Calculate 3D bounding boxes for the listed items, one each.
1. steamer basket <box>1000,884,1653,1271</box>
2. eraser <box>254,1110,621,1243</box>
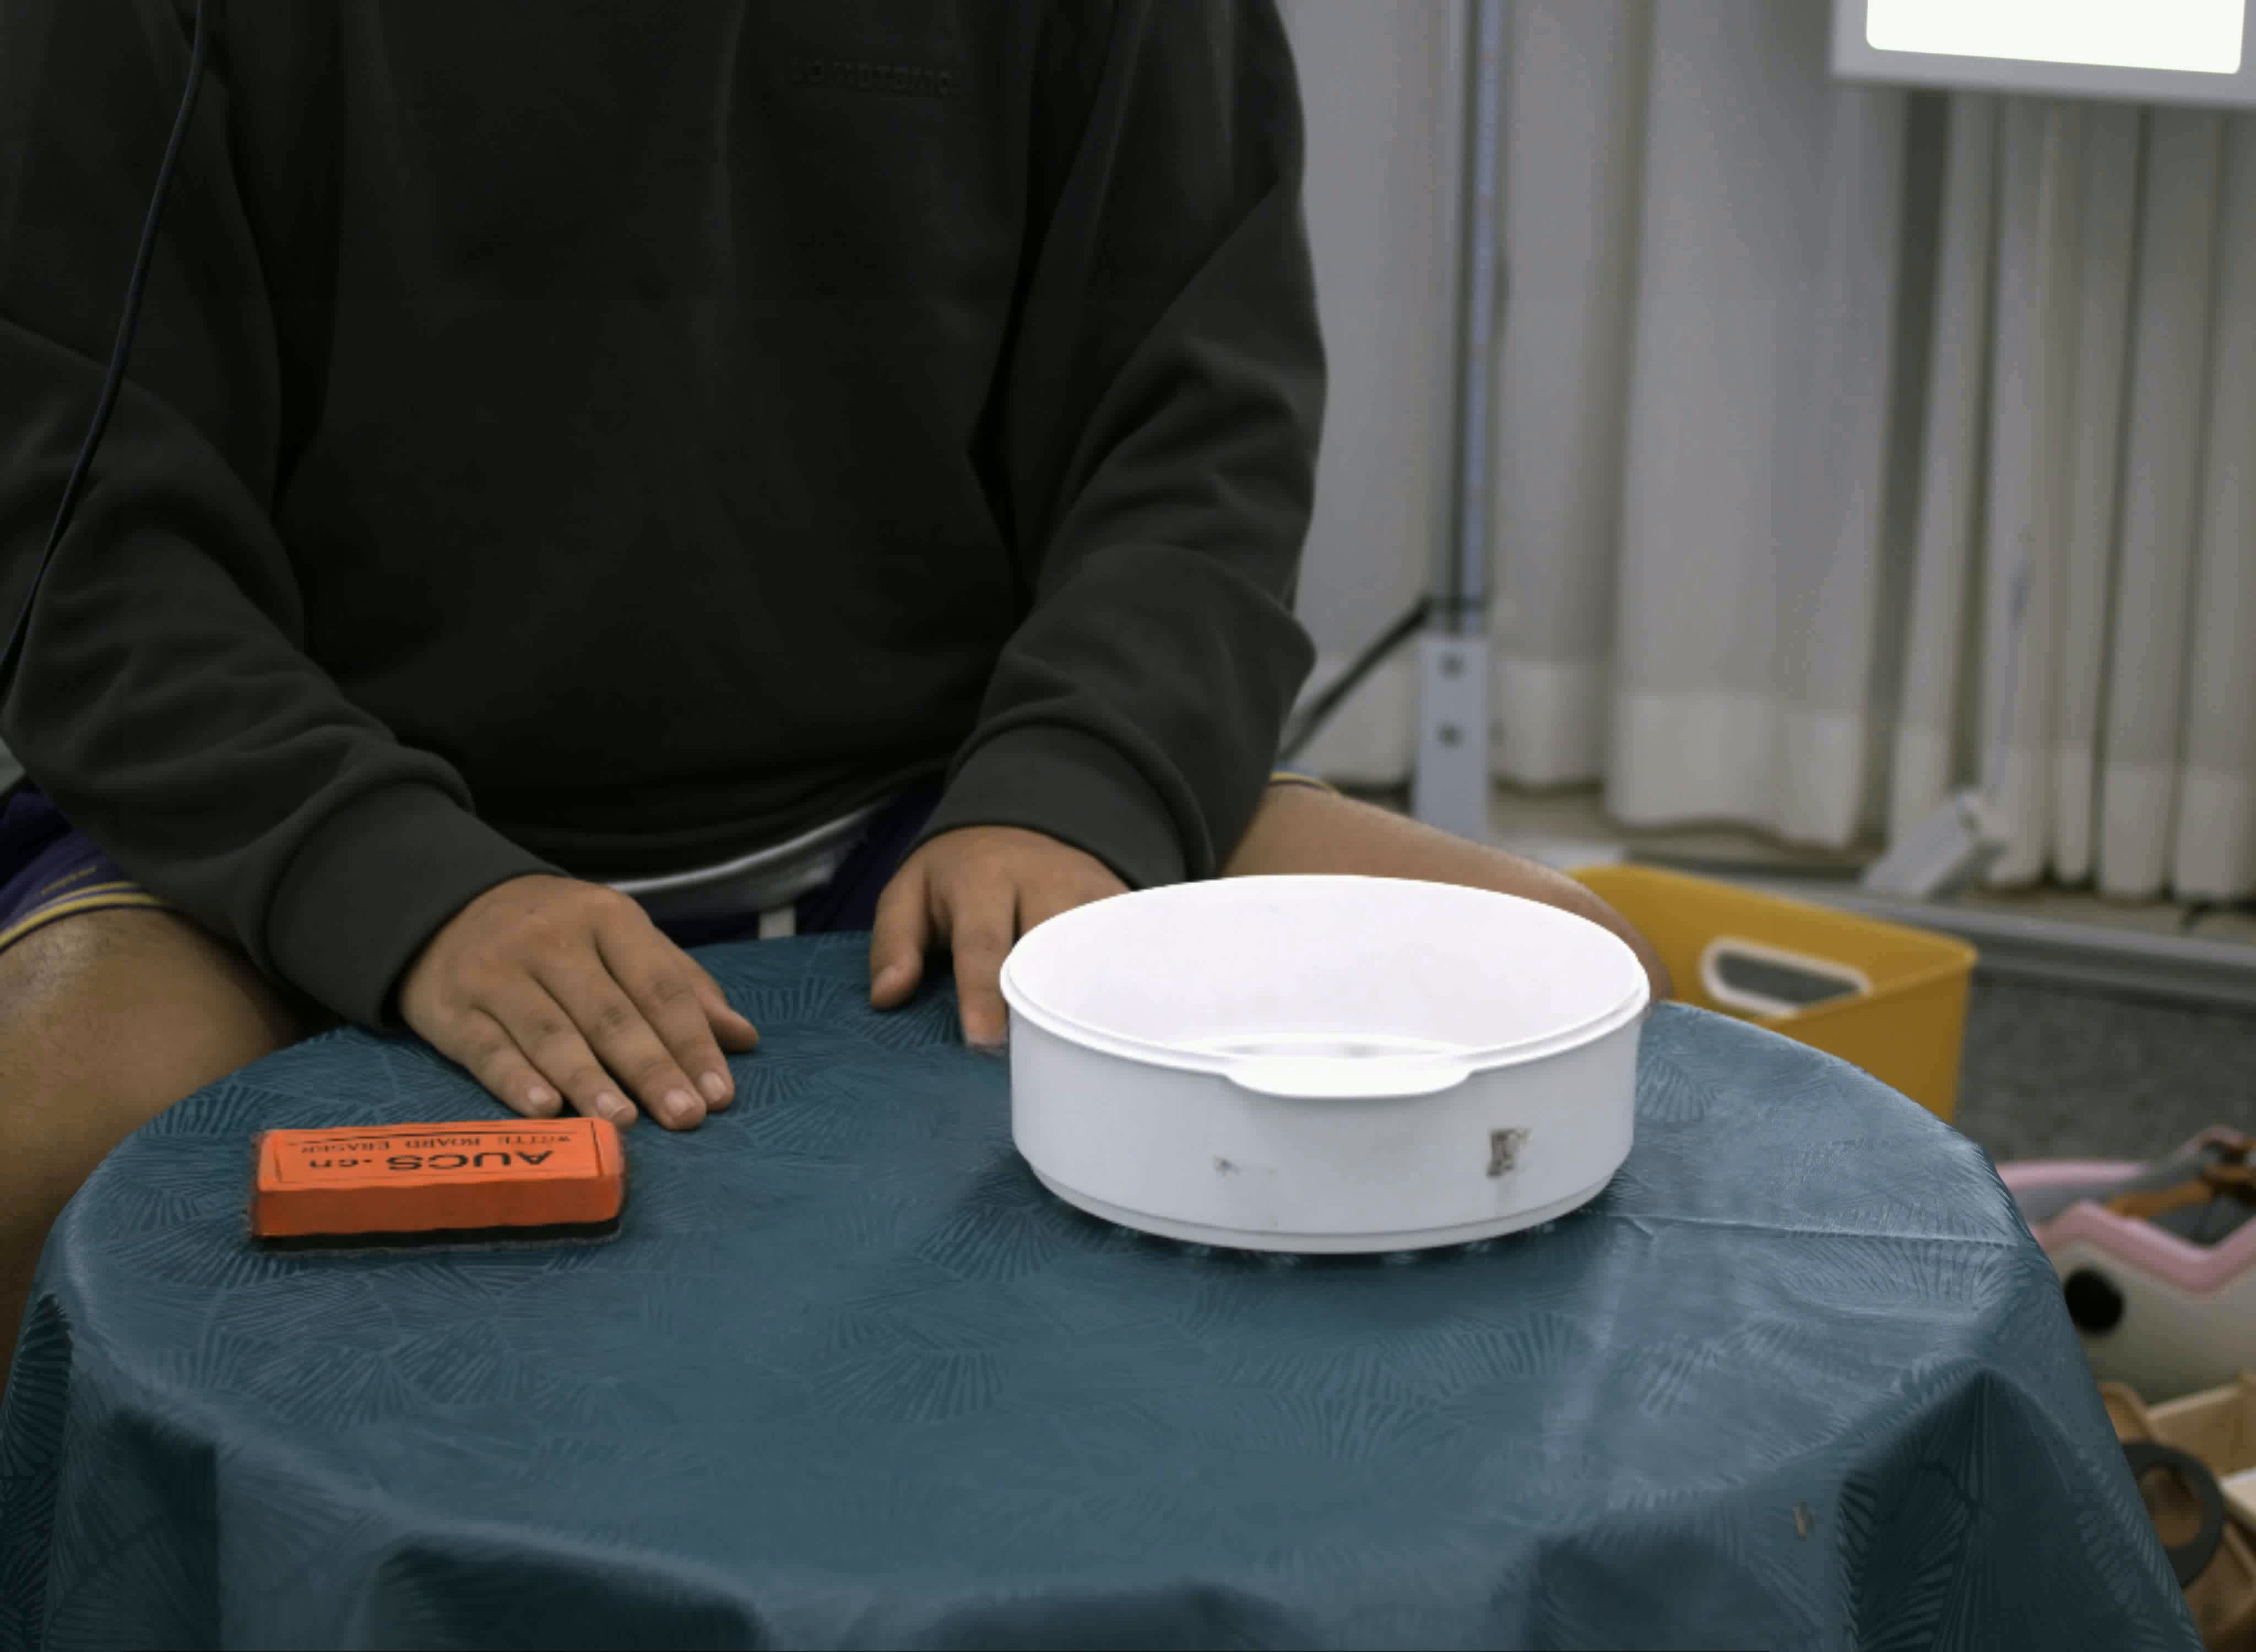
[{"bbox_3d":[0.061,0.077,1.632,0.201,0.070,0.229,-1,16,-4],"label":"steamer basket"},{"bbox_3d":[-0.208,0.105,1.584,0.108,0.023,0.058,-3,10,-9],"label":"eraser"}]
